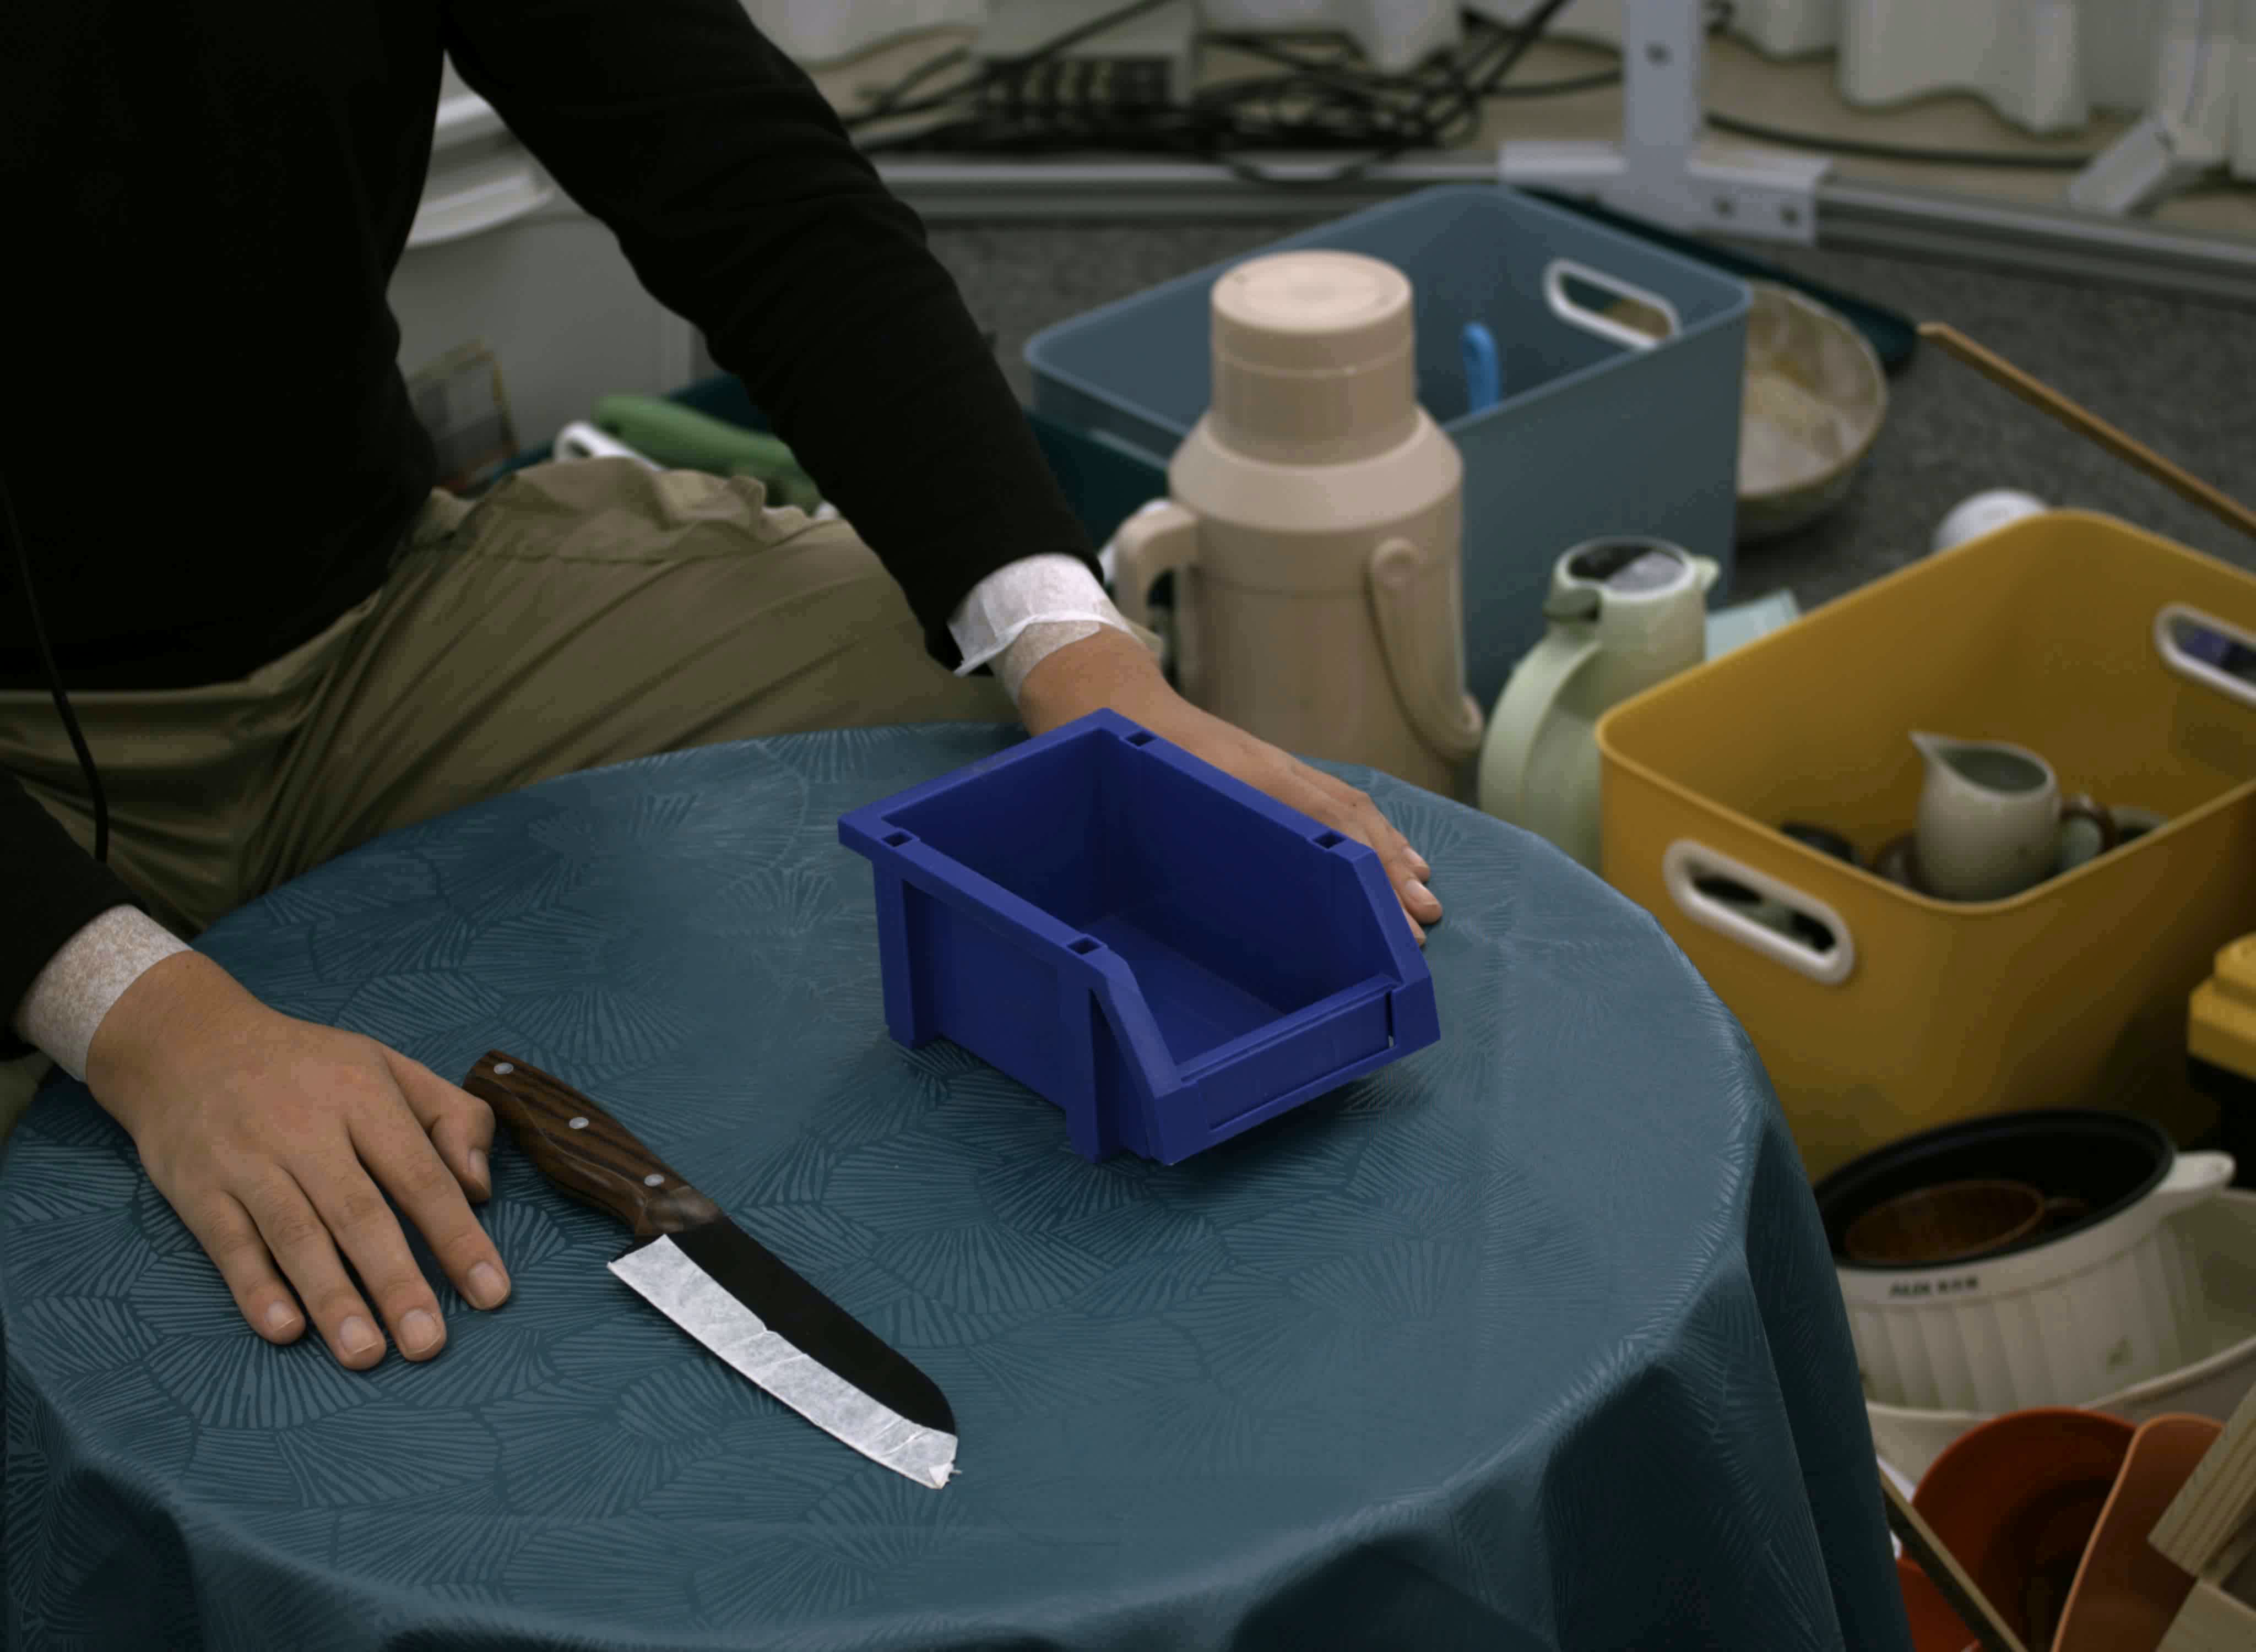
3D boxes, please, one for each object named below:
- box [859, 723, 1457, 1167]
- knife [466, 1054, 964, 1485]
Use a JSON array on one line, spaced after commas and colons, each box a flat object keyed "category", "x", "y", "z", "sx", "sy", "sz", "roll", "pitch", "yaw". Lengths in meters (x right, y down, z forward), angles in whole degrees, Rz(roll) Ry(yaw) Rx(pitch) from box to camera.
[{"category": "box", "x": 0.011, "y": 0.044, "z": 1.922, "sx": 0.125, "sy": 0.081, "sz": 0.179, "roll": -21, "pitch": 30, "yaw": -31}, {"category": "knife", "x": -0.136, "y": 0.143, "z": 1.818, "sx": 0.050, "sy": 0.020, "sz": 0.290, "roll": -24, "pitch": 36, "yaw": -26}]
